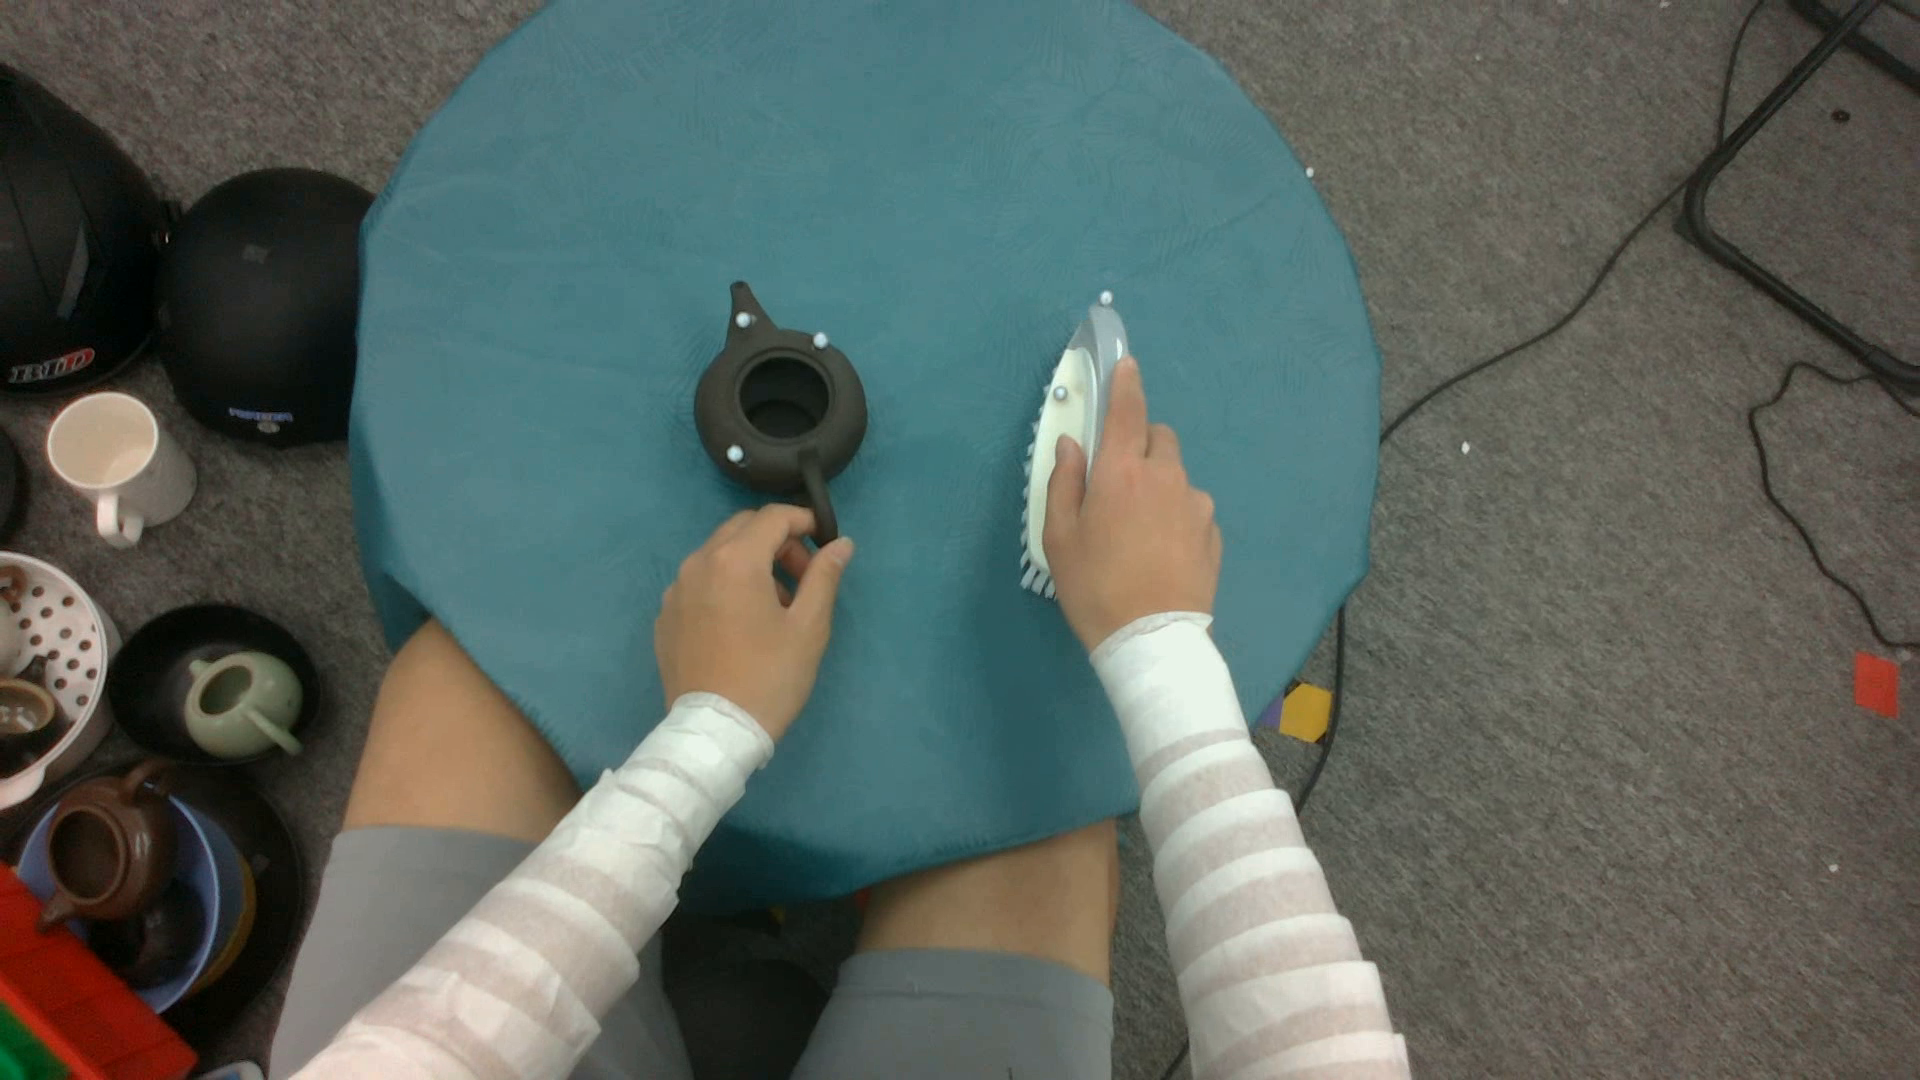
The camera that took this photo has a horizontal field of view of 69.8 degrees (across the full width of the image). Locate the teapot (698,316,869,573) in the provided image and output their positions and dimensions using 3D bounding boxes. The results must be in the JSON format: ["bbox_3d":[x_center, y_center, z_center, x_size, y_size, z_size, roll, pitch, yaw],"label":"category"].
[{"bbox_3d":[-0.096,-0.051,0.759,0.092,0.064,0.154,-19,72,-16],"label":"teapot"}]

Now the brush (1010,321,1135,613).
[{"bbox_3d":[0.069,-0.055,0.774,0.061,0.094,0.176,11,65,-12],"label":"brush"}]
